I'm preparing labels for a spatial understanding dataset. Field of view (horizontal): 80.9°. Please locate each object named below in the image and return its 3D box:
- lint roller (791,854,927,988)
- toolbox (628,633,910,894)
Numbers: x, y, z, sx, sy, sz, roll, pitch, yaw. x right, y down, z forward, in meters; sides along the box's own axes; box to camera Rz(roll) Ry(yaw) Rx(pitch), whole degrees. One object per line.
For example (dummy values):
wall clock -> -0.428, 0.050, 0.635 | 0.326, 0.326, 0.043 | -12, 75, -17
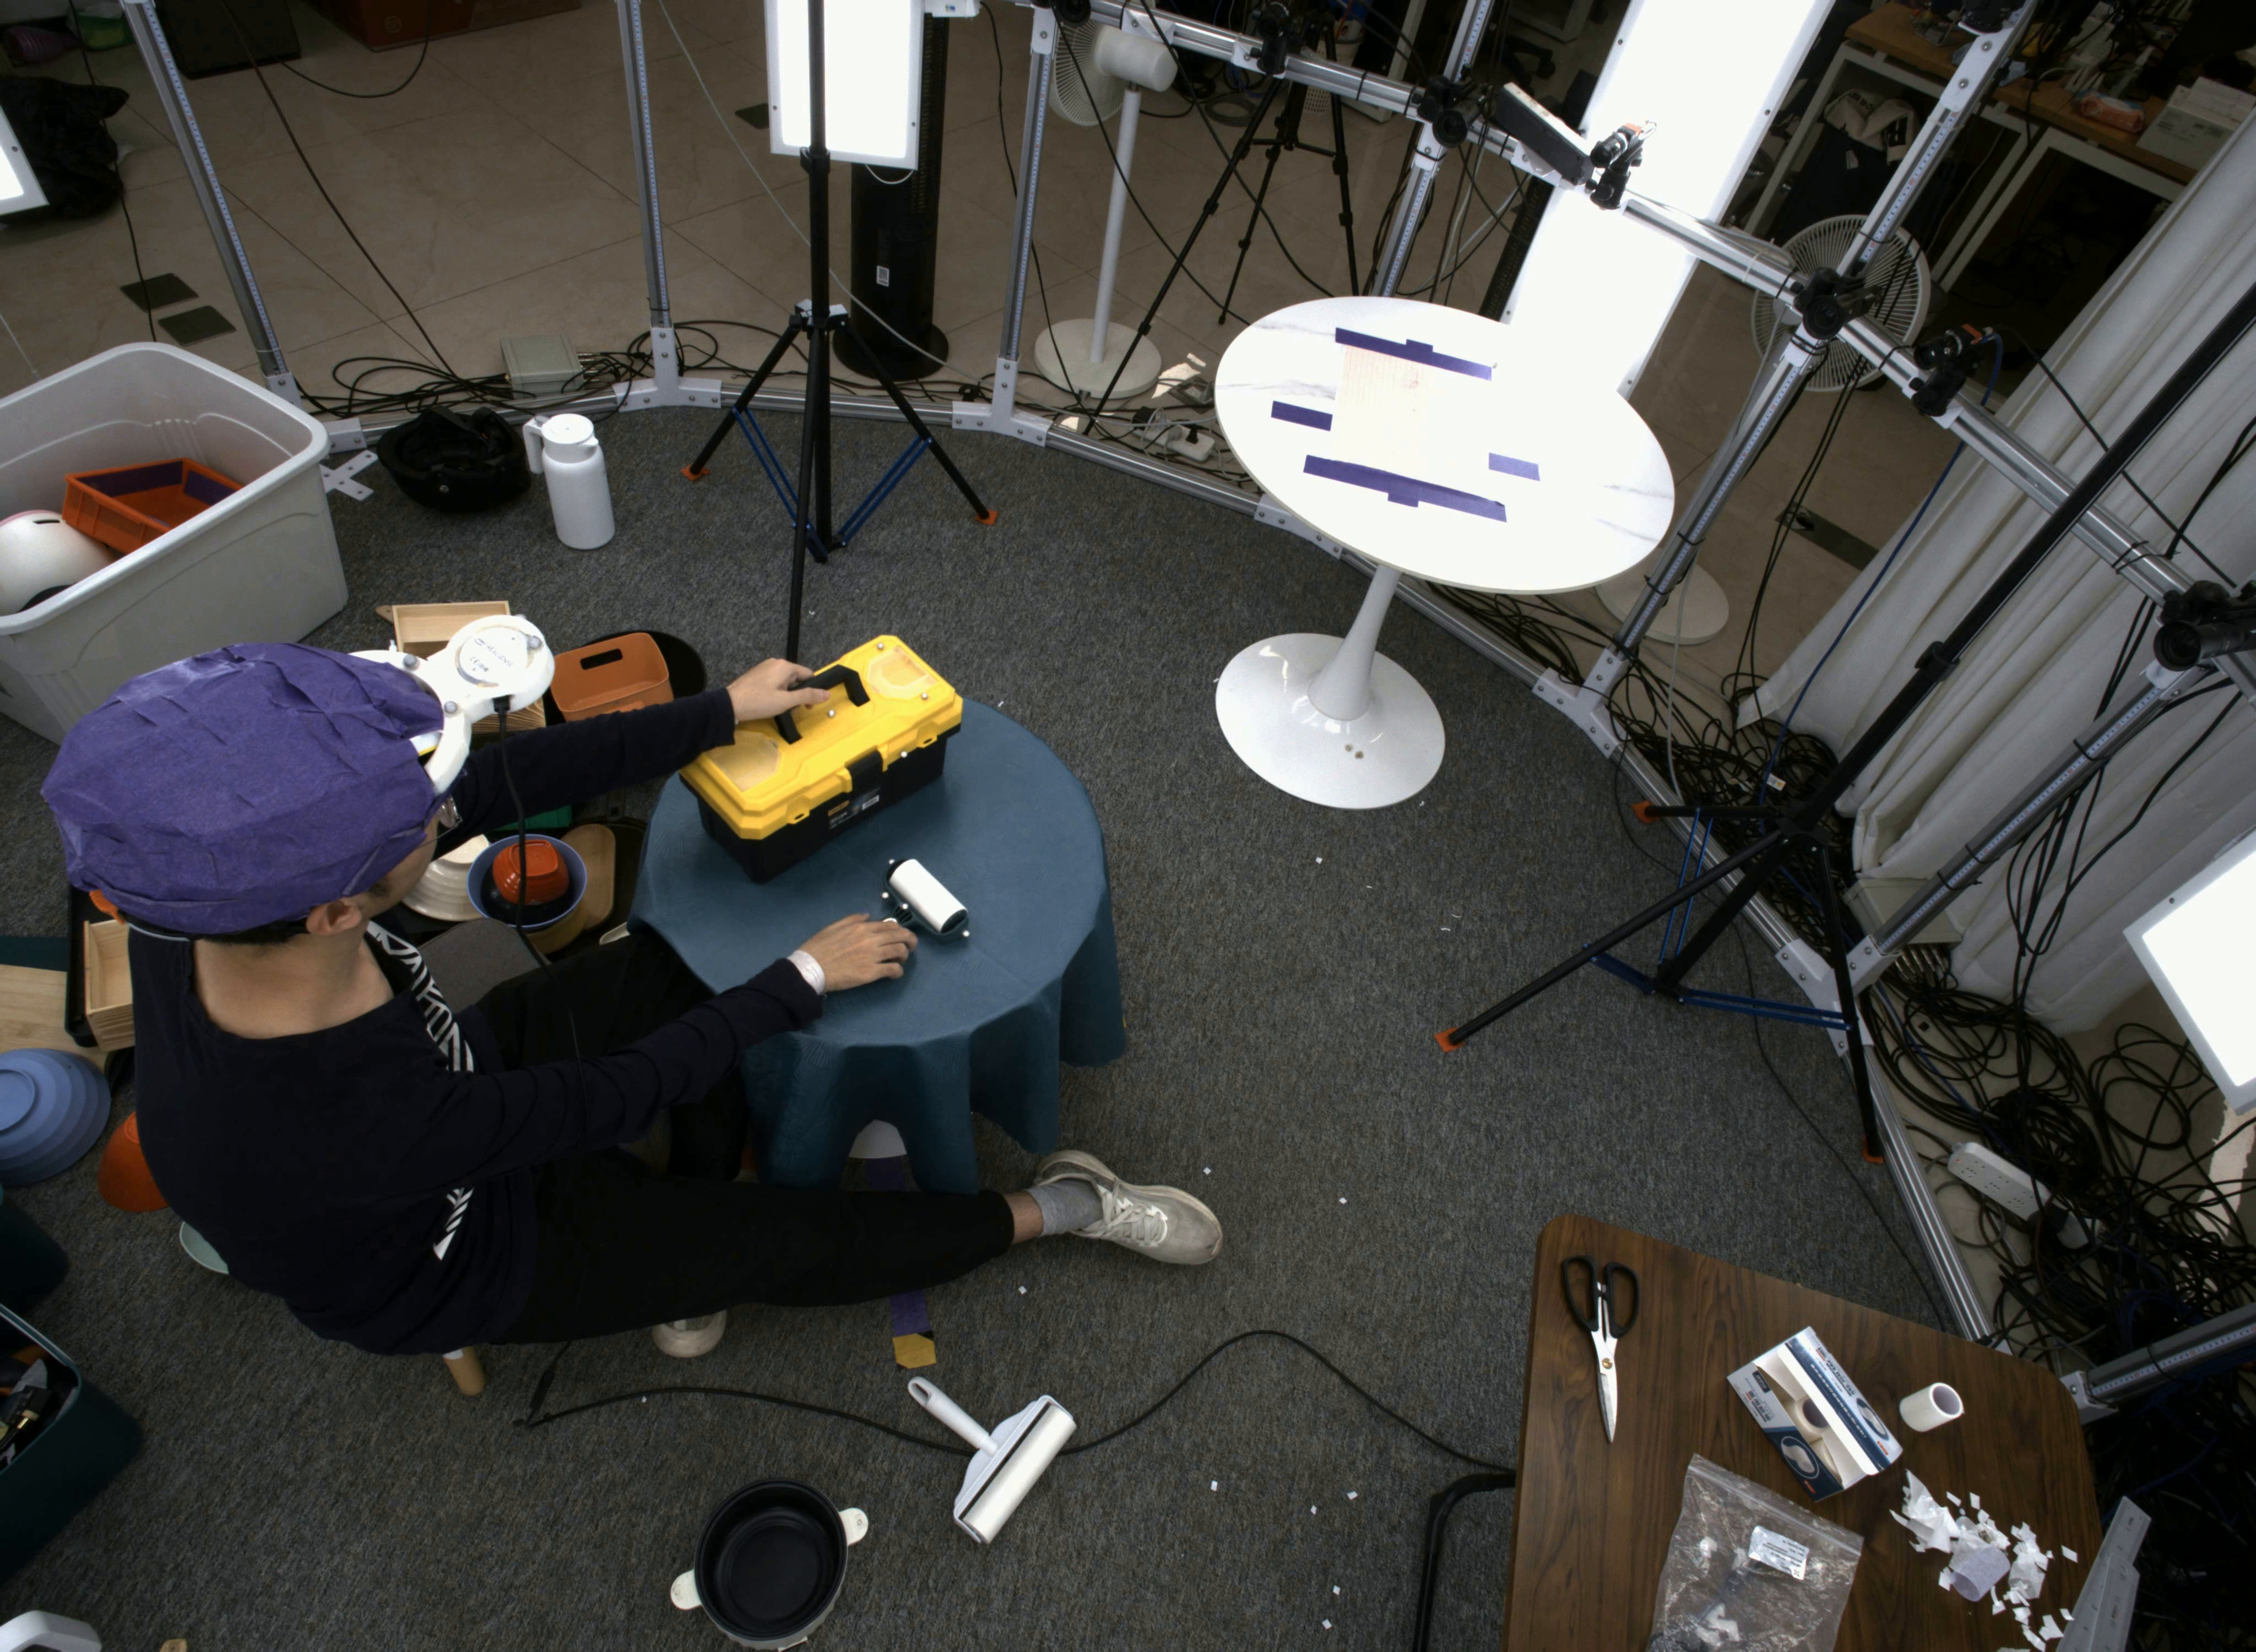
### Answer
lint roller -> -0.354, 0.131, 1.631 | 0.131, 0.049, 0.180 | 40, 59, 15
toolbox -> -0.456, -0.081, 1.675 | 0.177, 0.176, 0.352 | 39, 55, 18
